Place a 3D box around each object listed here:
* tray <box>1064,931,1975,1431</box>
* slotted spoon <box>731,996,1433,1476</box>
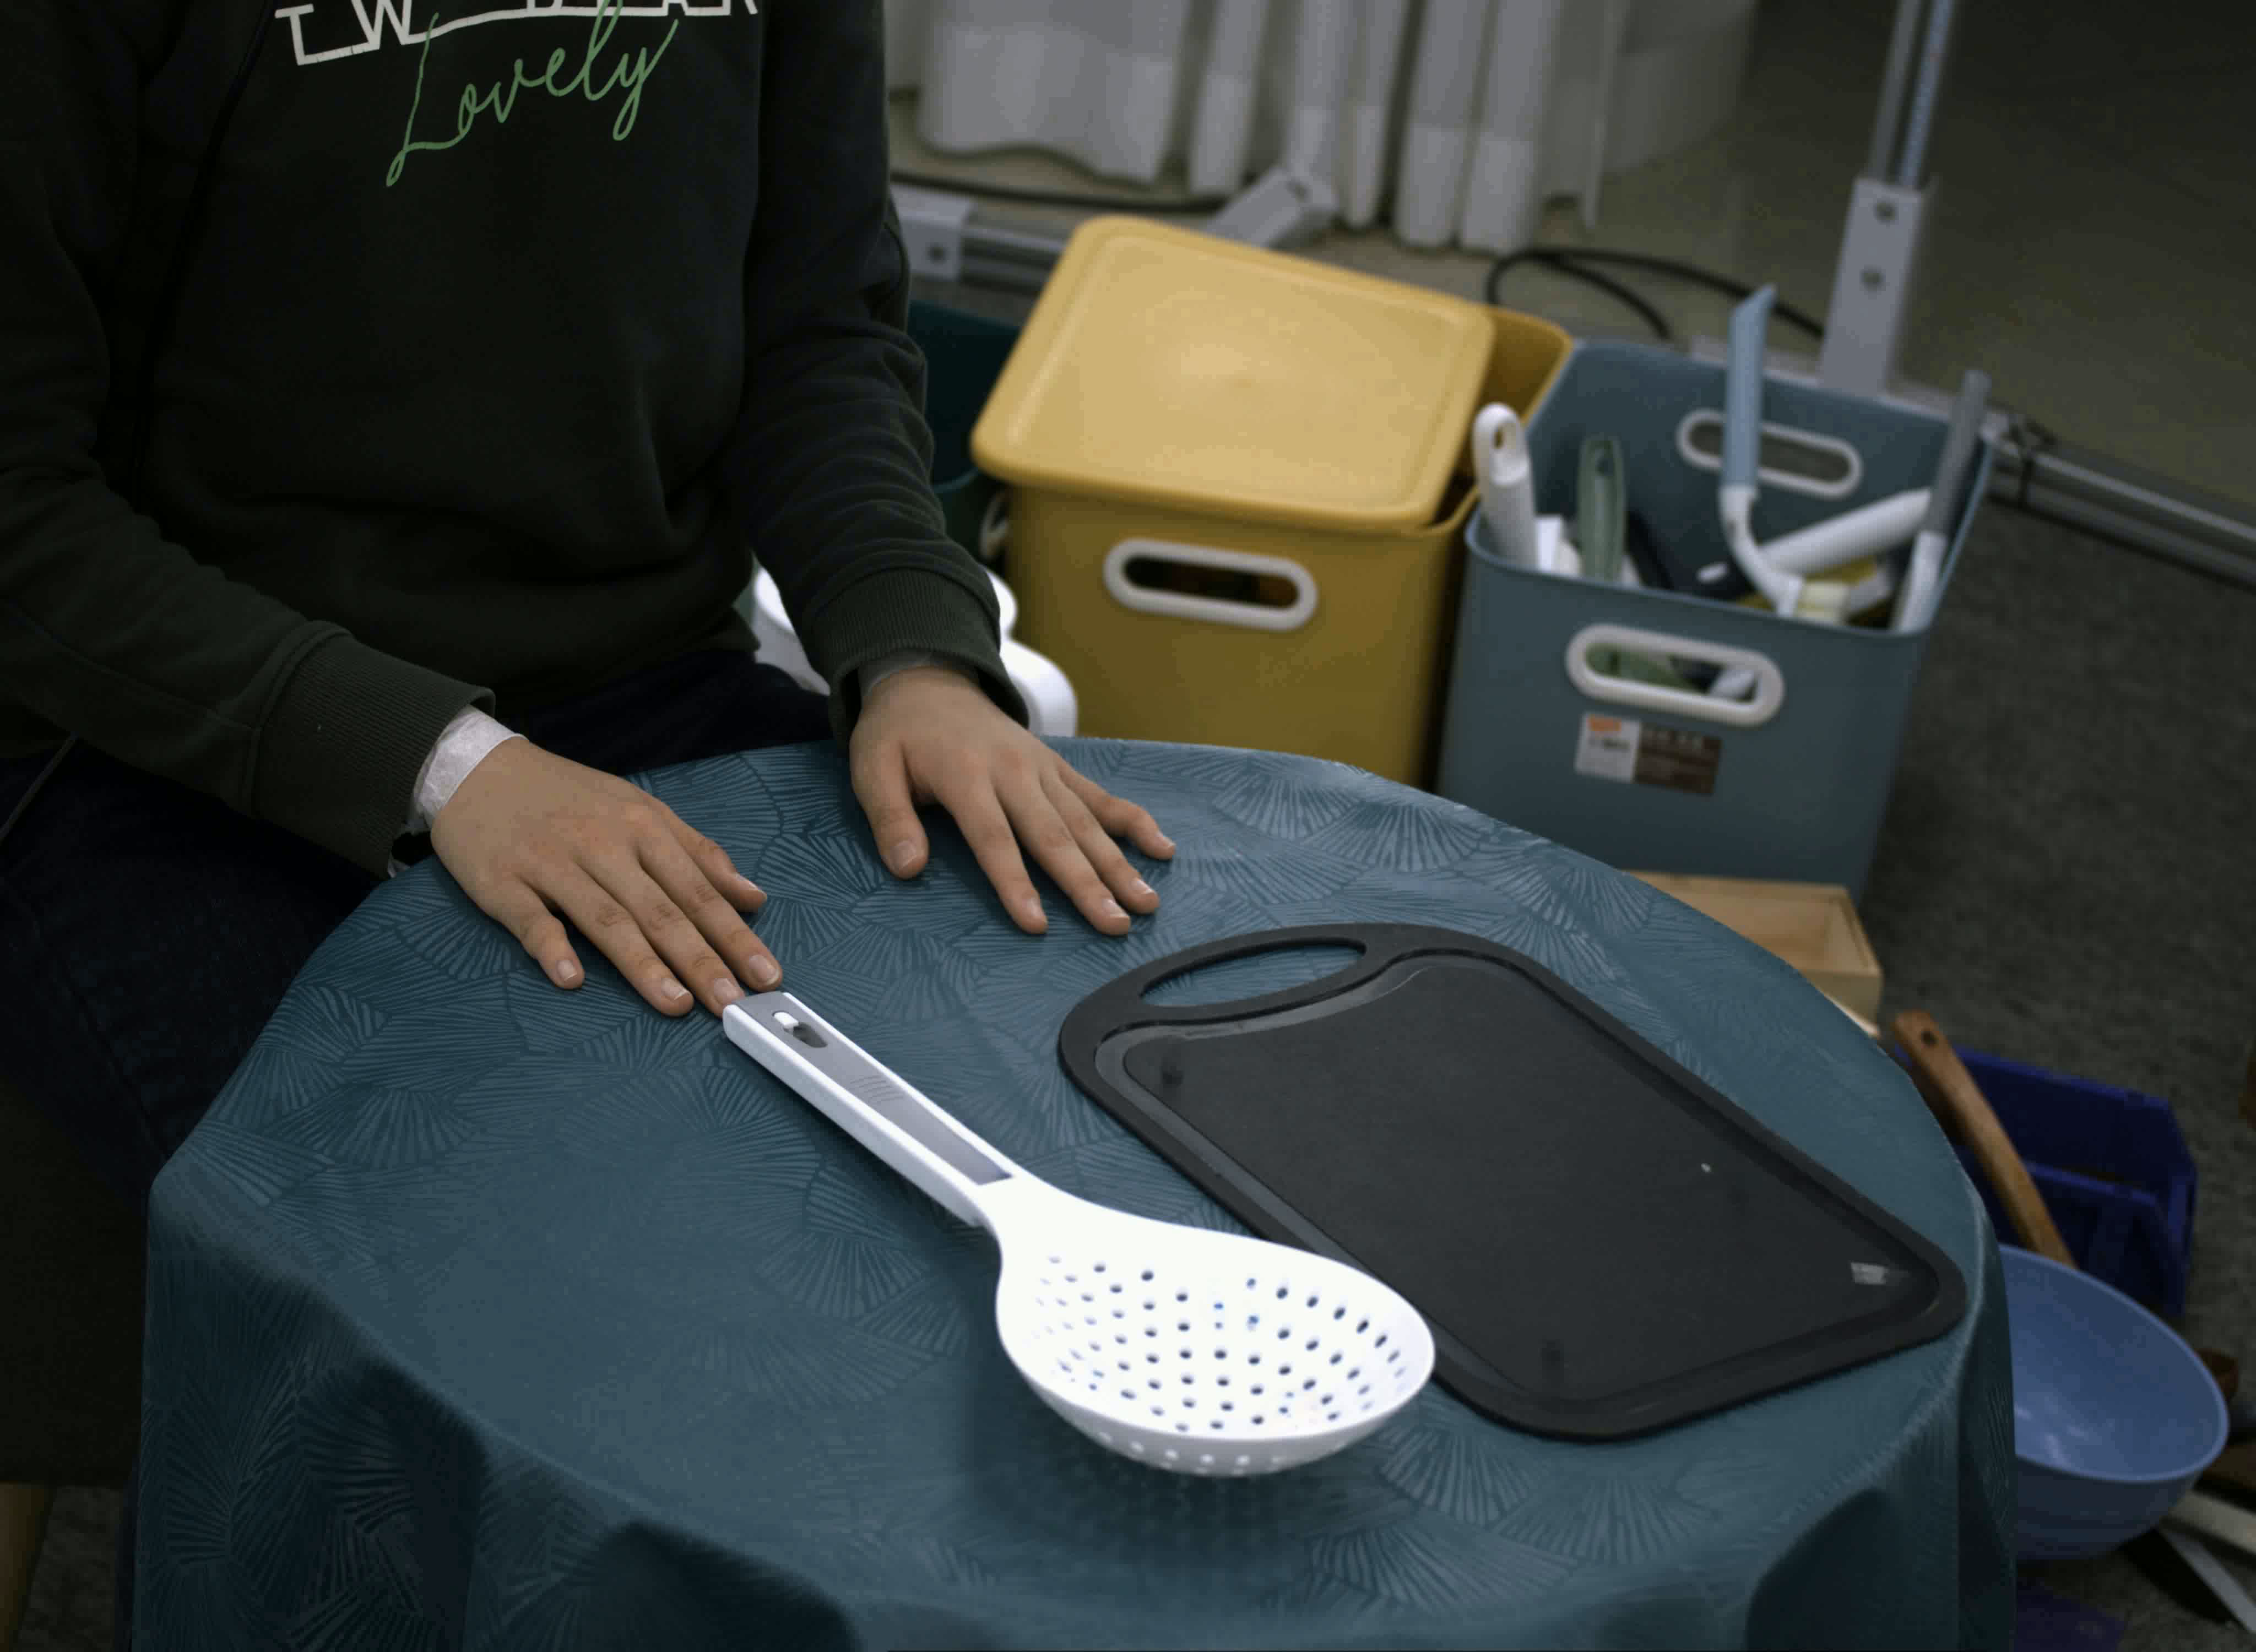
[{"bbox_3d":[0.126,0.113,1.842,0.210,0.010,0.328,-12,32,-33],"label":"tray"},{"bbox_3d":[-0.034,0.127,1.735,0.135,0.045,0.353,-9,30,-33],"label":"slotted spoon"}]
